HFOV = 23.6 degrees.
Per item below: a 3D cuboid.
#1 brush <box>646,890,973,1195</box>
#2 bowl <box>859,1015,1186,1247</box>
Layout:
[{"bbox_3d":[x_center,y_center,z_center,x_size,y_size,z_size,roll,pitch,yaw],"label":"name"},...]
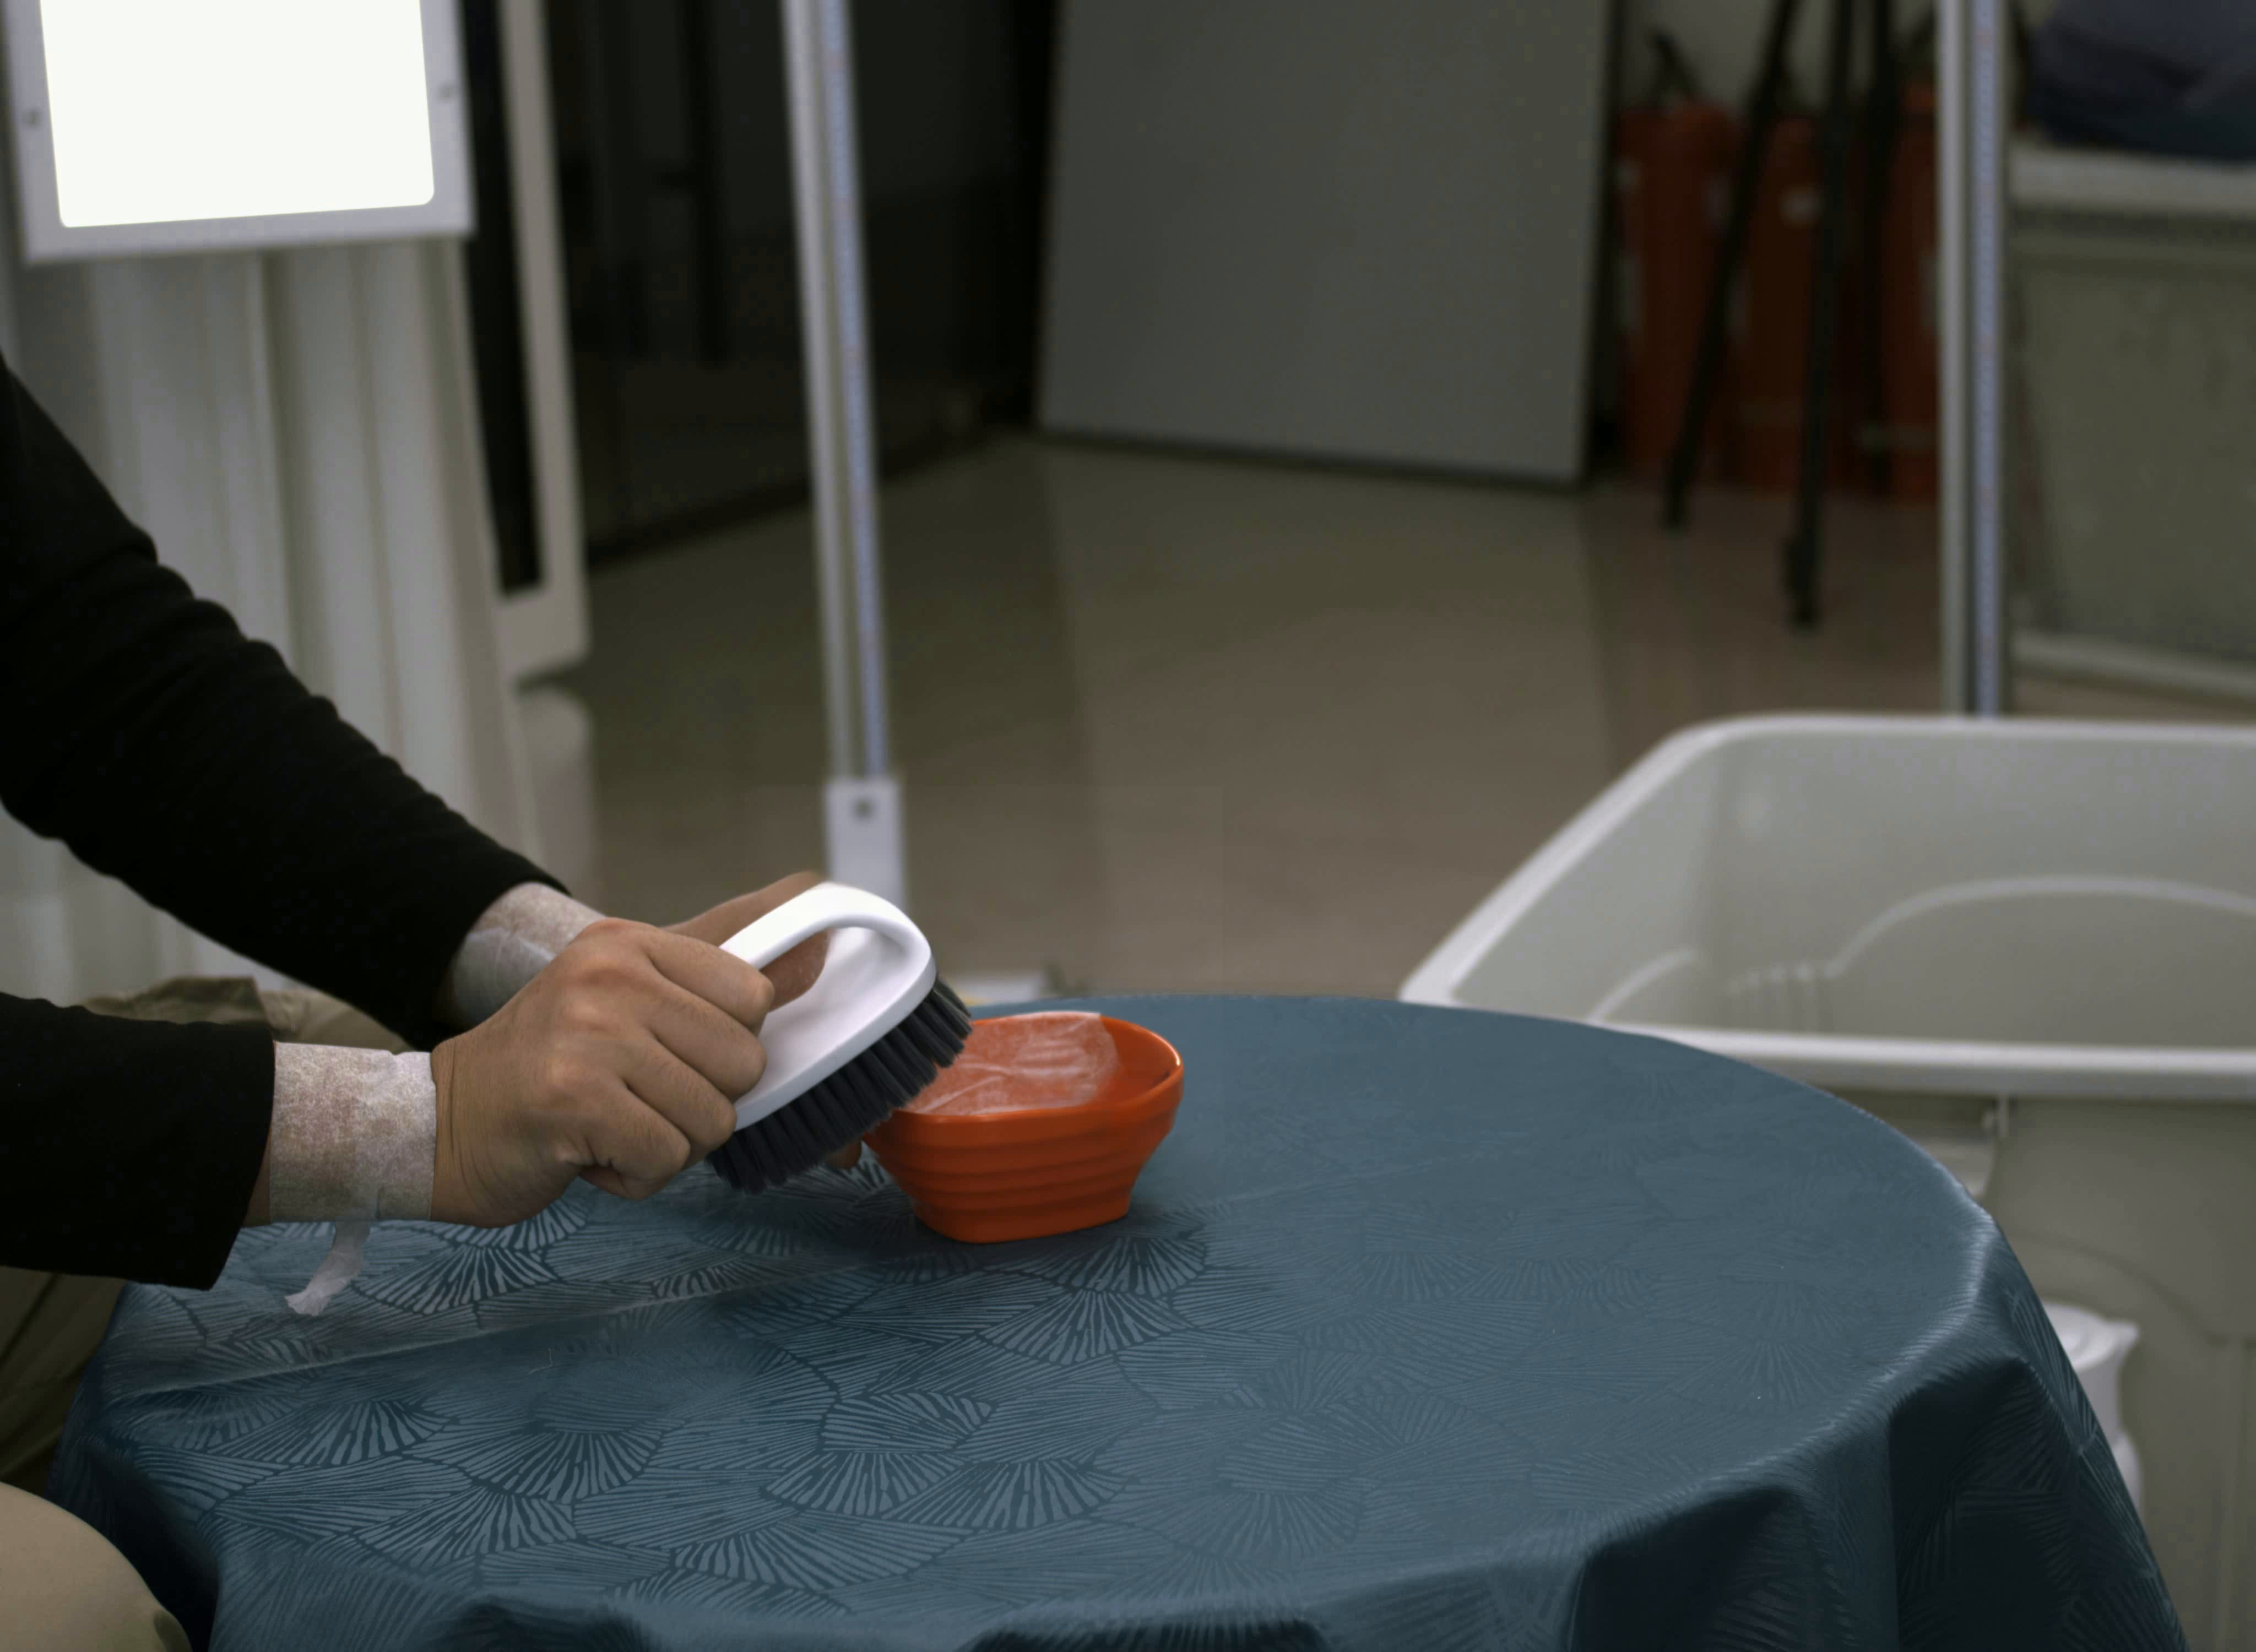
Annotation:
[{"bbox_3d":[-0.105,0.060,1.685,0.098,0.072,0.051,-33,39,-3],"label":"brush"},{"bbox_3d":[-0.037,0.101,1.754,0.117,0.052,0.119,-3,14,0],"label":"bowl"}]
